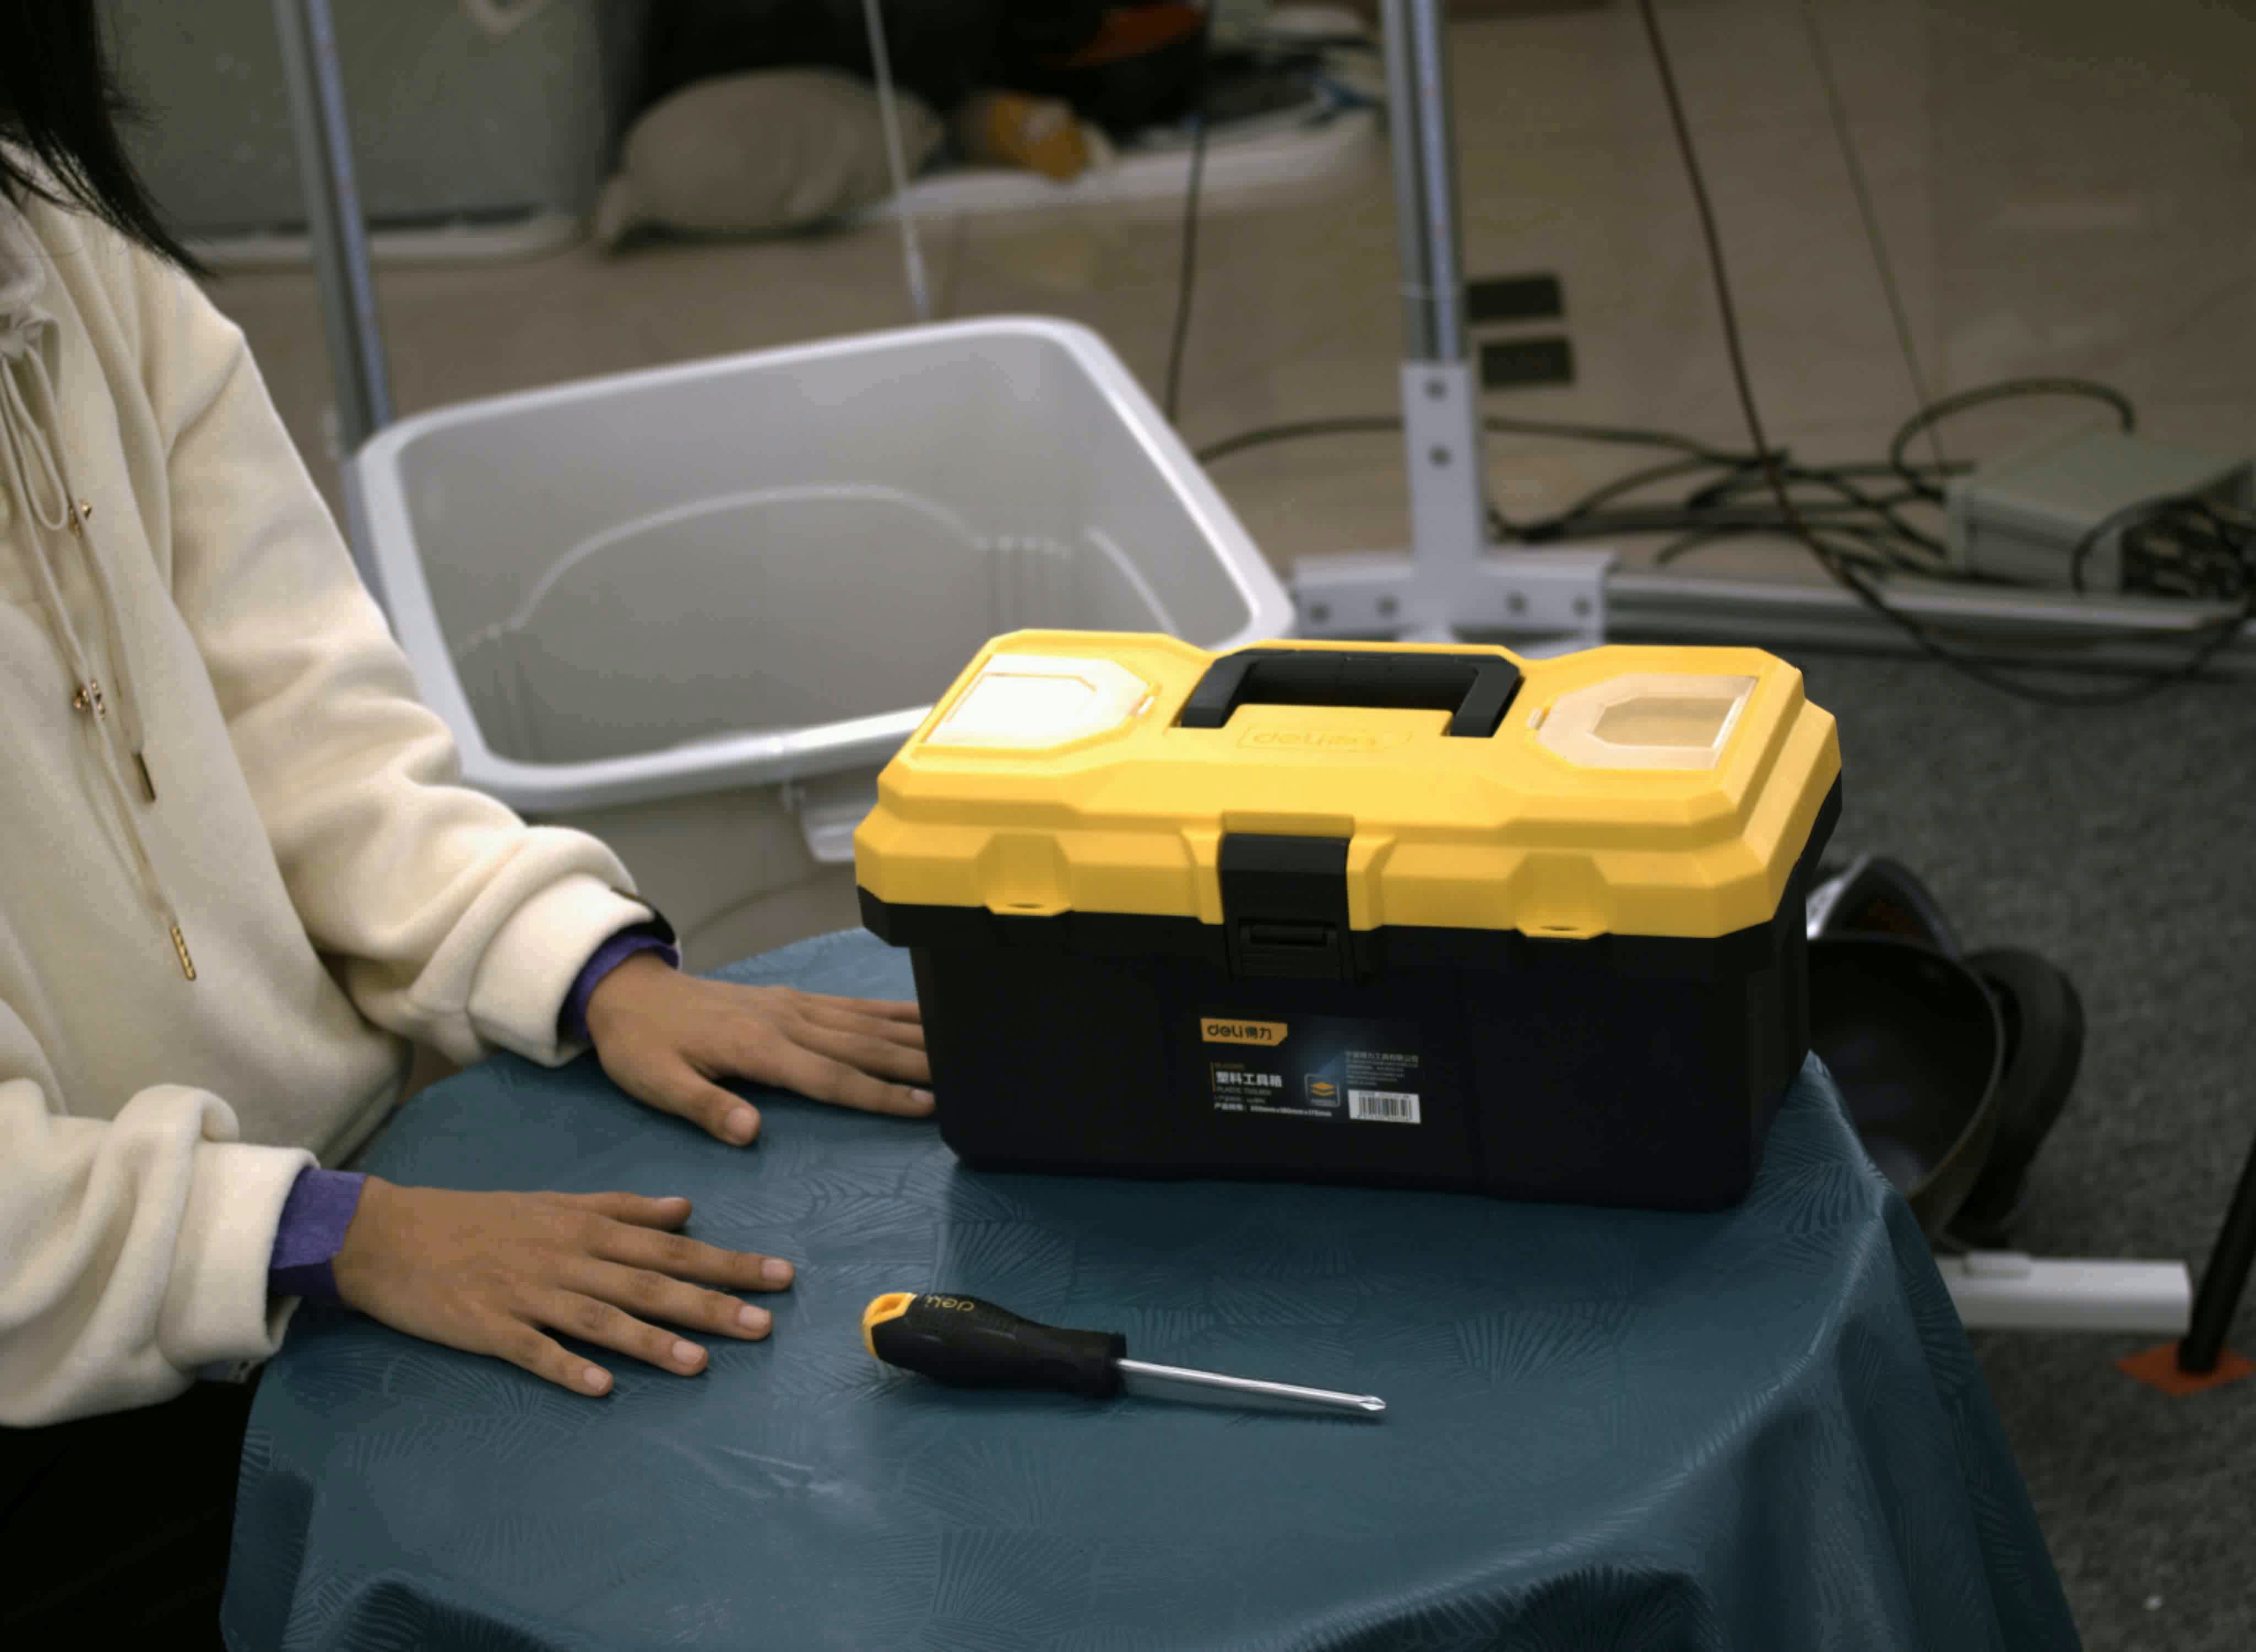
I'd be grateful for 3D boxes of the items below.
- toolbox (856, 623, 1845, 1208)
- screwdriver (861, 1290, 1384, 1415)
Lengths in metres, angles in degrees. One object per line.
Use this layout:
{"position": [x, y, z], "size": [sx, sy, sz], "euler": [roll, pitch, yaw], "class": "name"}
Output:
{"position": [0.087, 0.033, 2.145], "size": [0.350, 0.175, 0.179], "euler": [3, 27, 19], "class": "toolbox"}
{"position": [-0.003, 0.188, 2.006], "size": [0.195, 0.032, 0.031], "euler": [5, 28, 22], "class": "screwdriver"}
